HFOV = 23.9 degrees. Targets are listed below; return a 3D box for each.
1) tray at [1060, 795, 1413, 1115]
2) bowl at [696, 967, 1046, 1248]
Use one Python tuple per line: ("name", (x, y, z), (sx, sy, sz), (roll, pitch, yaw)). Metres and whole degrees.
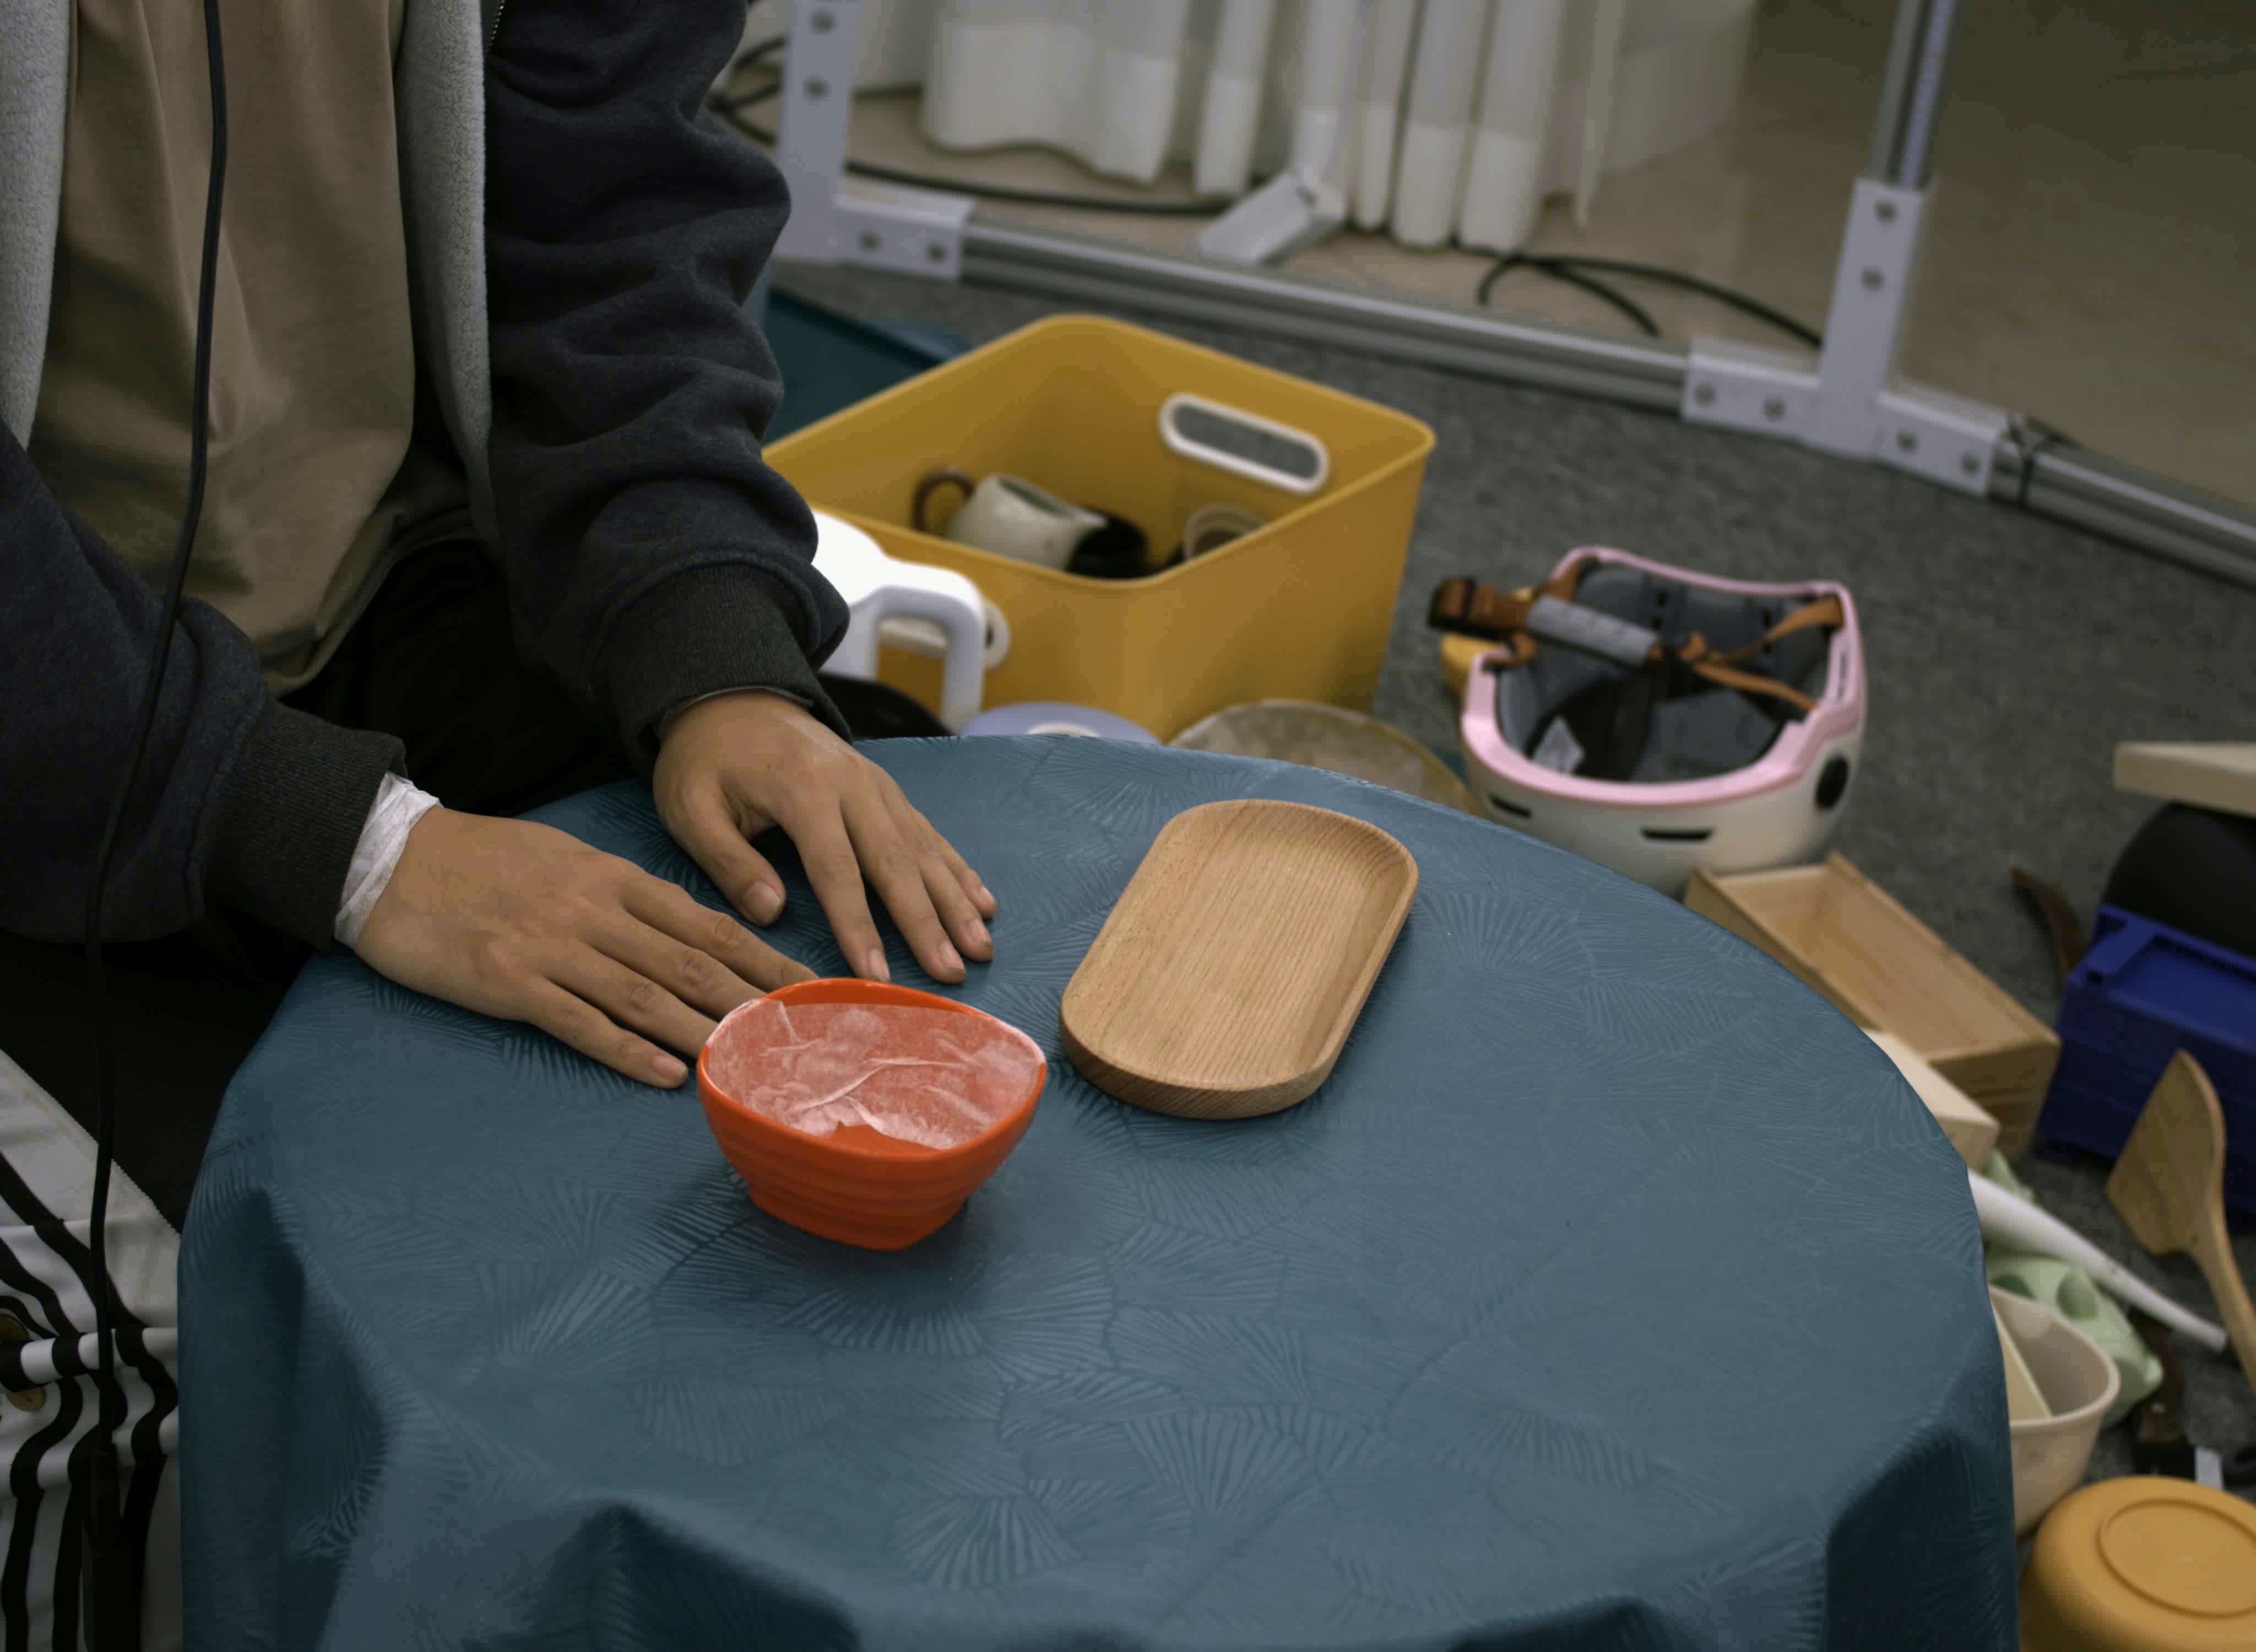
("tray", (0.041, 0.045, 1.947), (0.102, 0.020, 0.232), (12, 26, 9))
("bowl", (-0.088, 0.098, 1.771), (0.118, 0.051, 0.119), (6, 28, -4))
